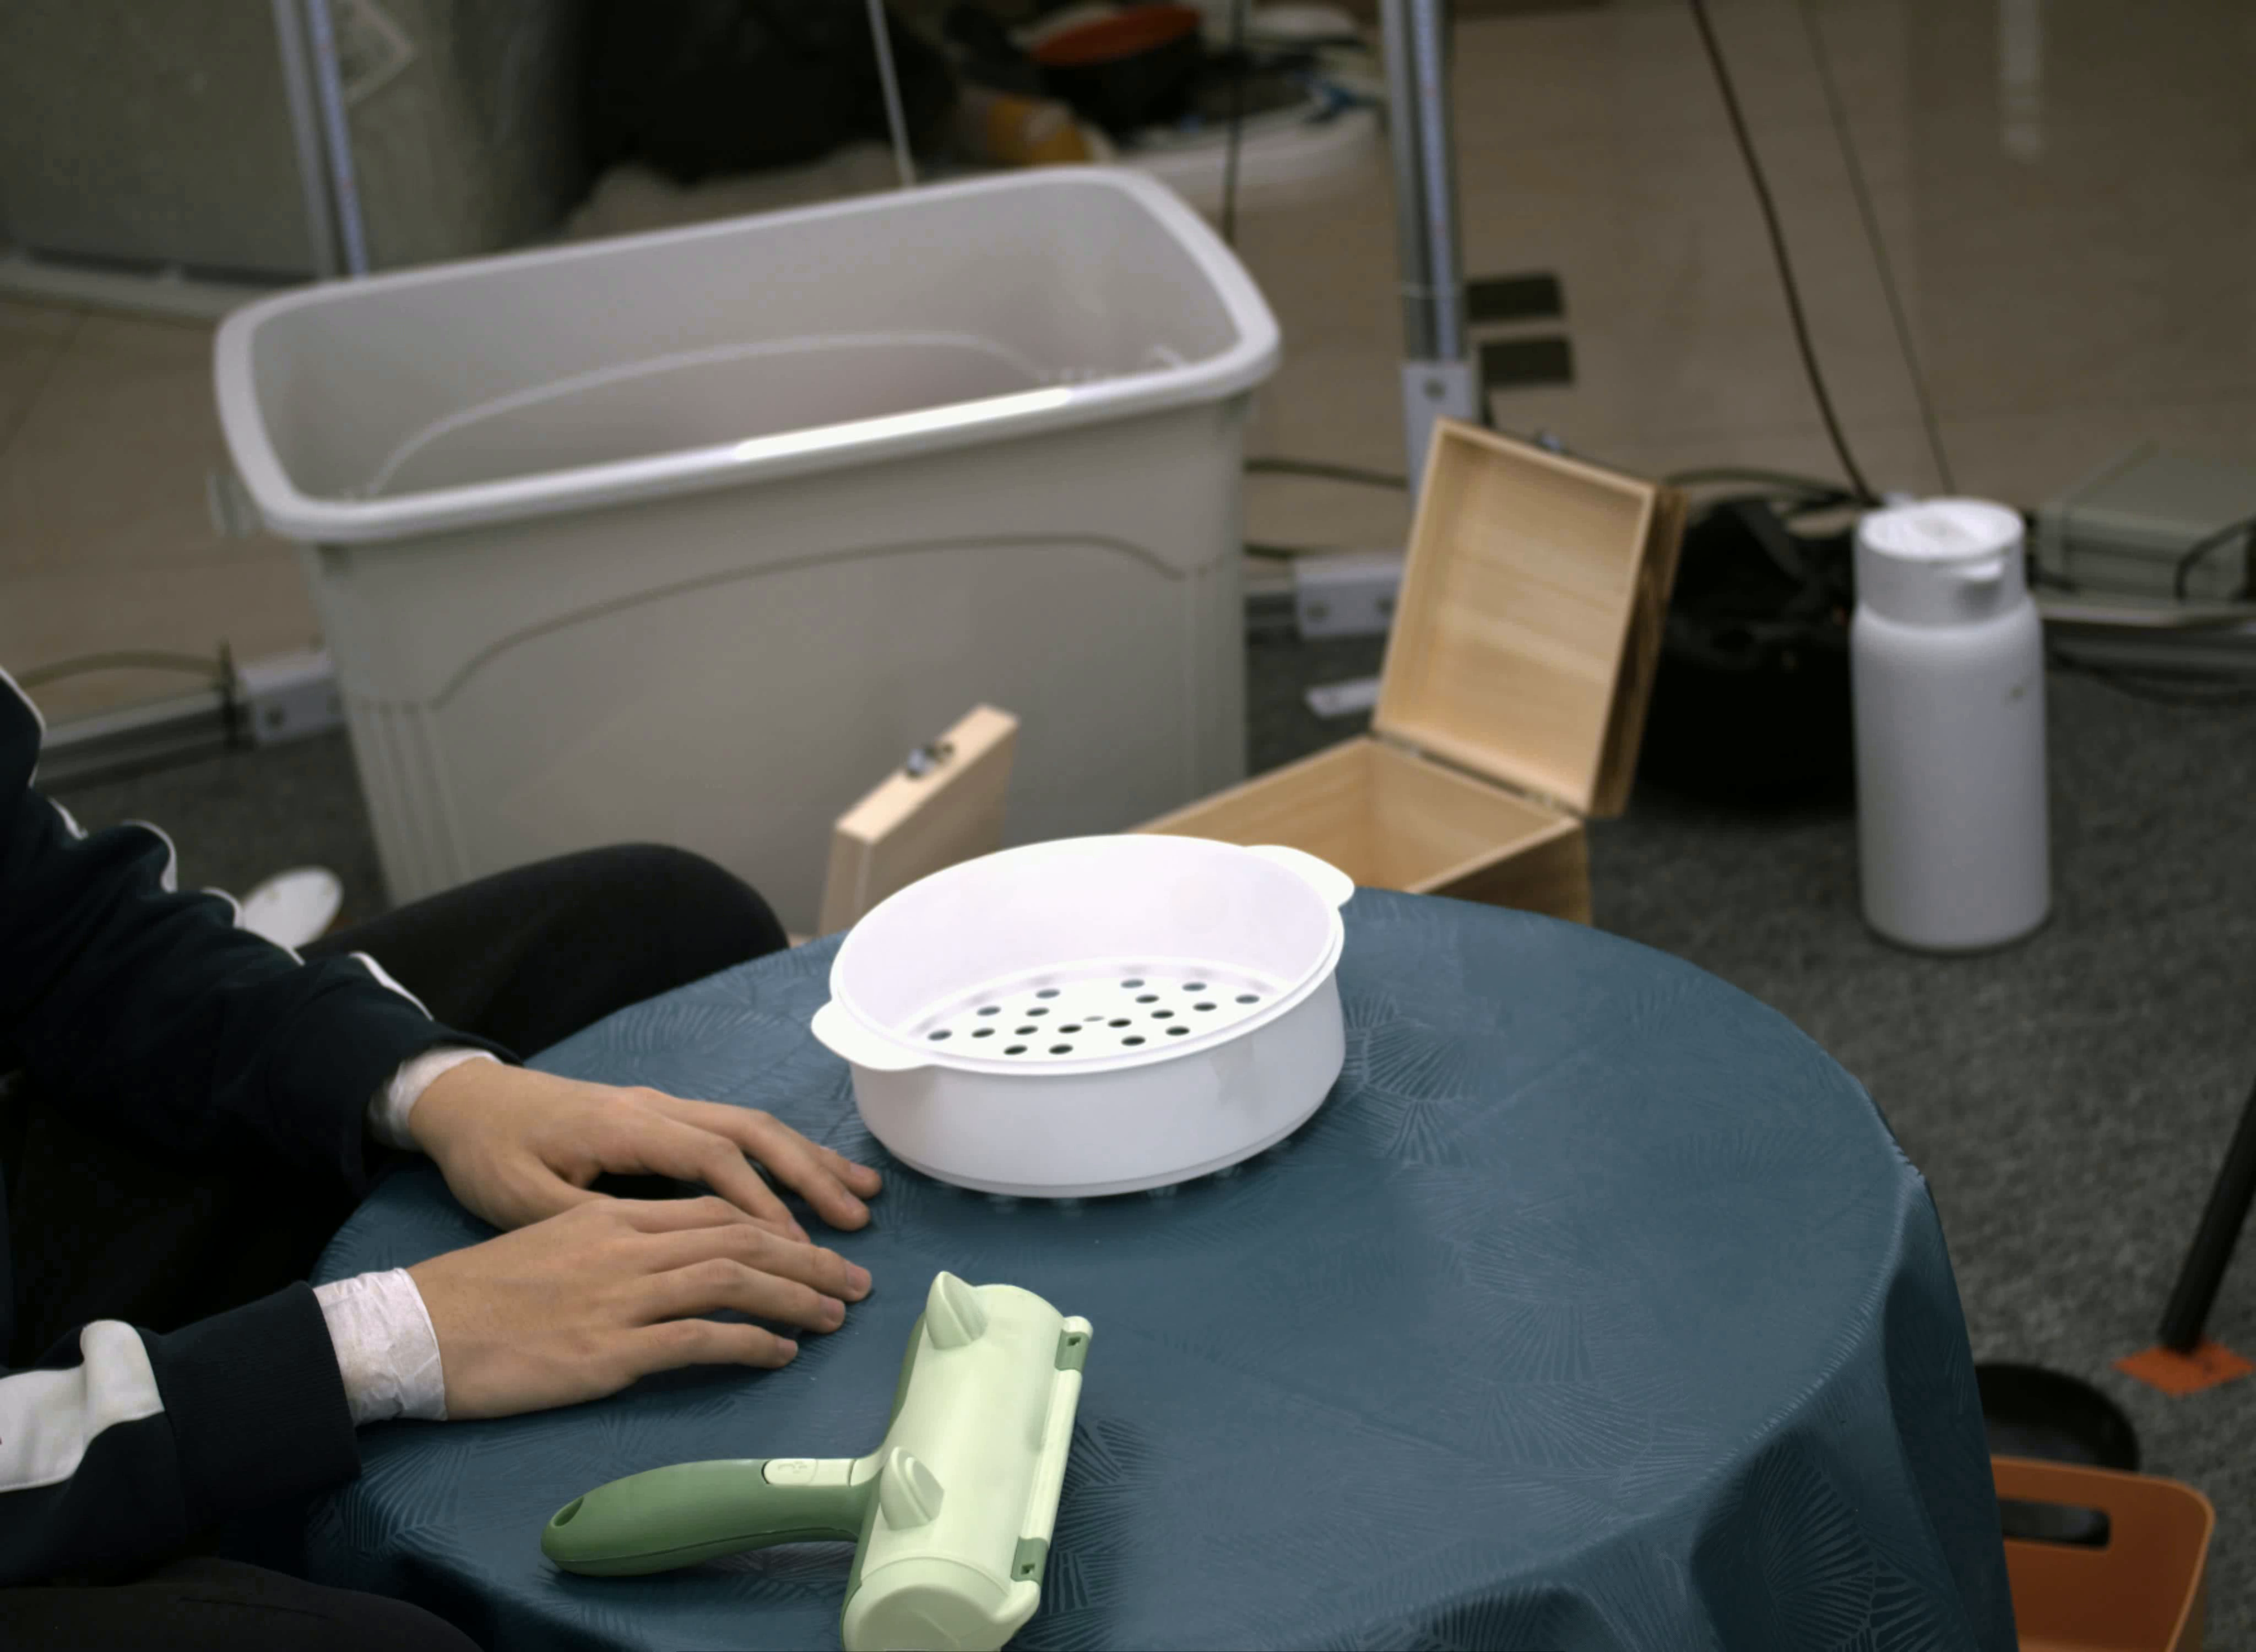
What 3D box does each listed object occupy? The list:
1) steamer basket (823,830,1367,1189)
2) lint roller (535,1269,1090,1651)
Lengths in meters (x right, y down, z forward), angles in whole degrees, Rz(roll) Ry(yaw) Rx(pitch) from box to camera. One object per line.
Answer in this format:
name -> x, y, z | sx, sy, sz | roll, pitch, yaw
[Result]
steamer basket -> -0.009, 0.072, 2.207 | 0.229, 0.070, 0.200 | -19, 29, -28
lint roller -> -0.112, 0.214, 1.918 | 0.183, 0.083, 0.195 | 1, 26, 6
